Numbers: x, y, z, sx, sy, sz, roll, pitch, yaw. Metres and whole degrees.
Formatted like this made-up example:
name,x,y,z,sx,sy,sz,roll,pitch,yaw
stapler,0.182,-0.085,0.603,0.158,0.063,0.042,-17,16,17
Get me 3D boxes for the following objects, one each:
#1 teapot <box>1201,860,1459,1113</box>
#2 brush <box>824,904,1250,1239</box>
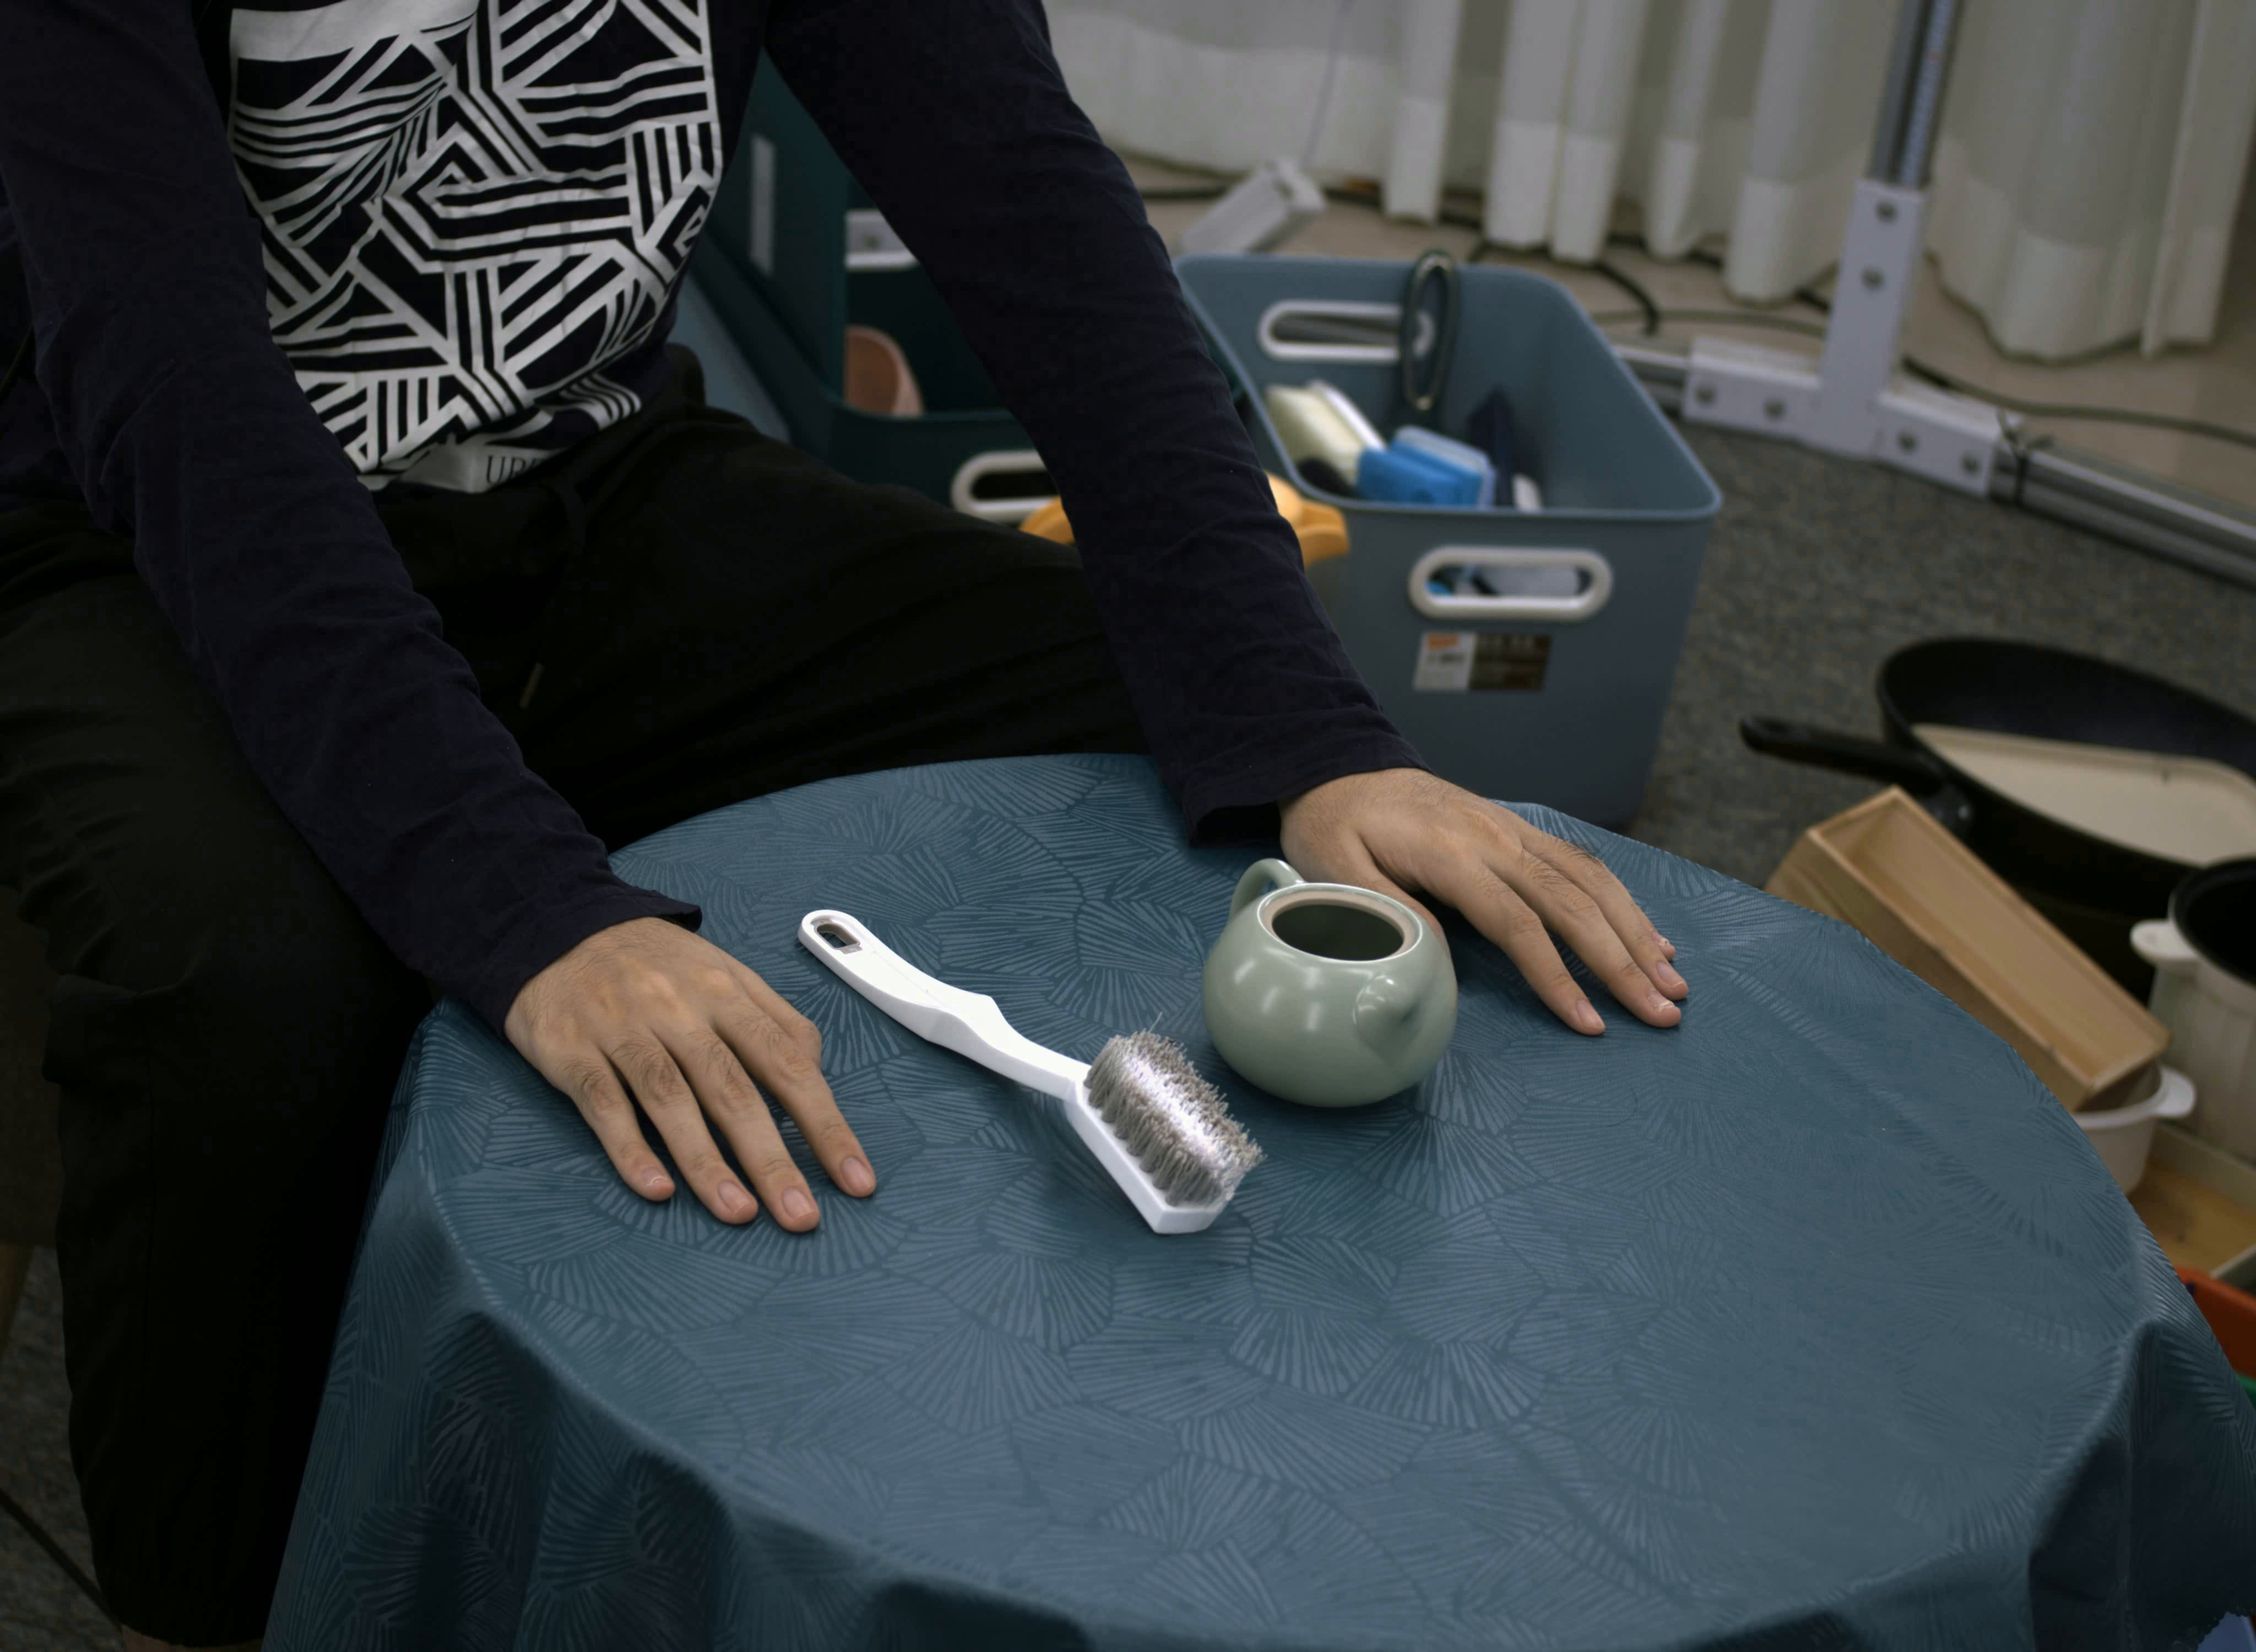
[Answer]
name,x,y,z,sx,sy,sz,roll,pitch,yaw
teapot,0.068,0.057,1.889,0.091,0.061,0.129,-9,30,-17
brush,-0.037,0.068,1.855,0.034,0.050,0.246,-16,35,-29
